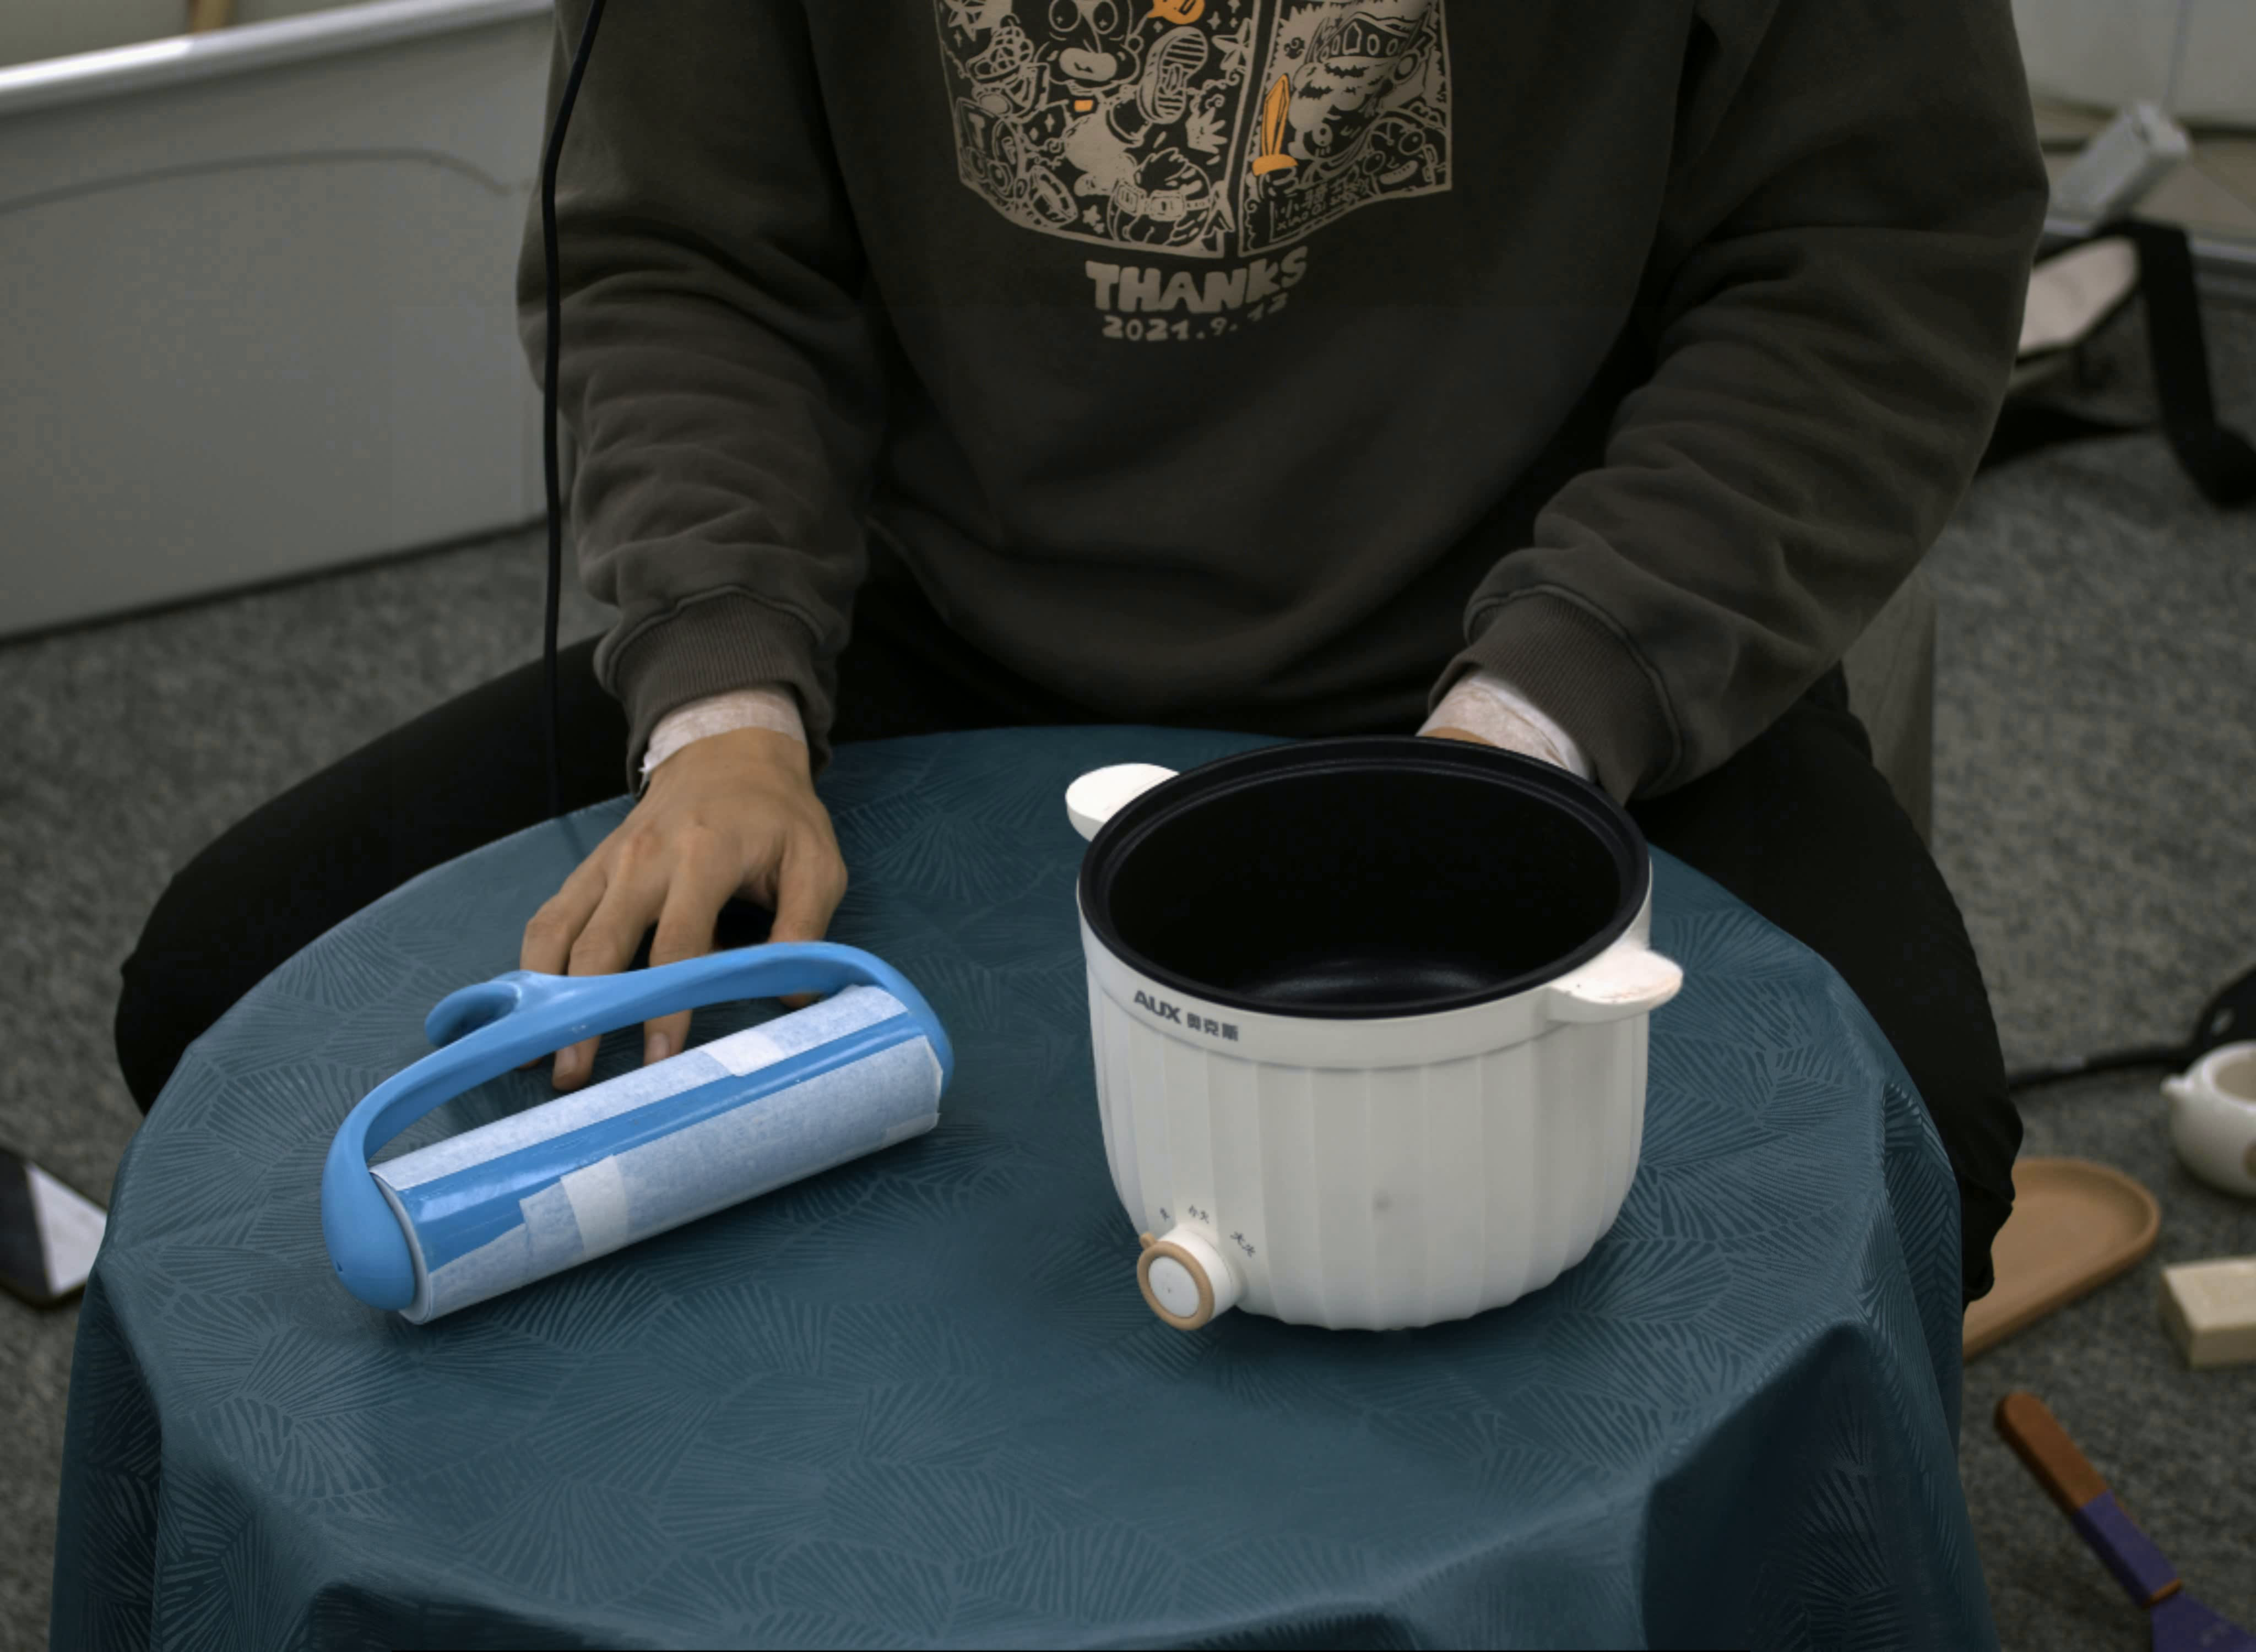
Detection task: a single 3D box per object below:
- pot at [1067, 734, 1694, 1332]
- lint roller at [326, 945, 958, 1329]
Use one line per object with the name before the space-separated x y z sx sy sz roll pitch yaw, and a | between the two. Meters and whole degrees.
pot | 0.076 0.073 1.797 0.239 0.141 0.193 18 31 37
lint roller | -0.191 0.085 1.888 0.231 0.067 0.181 -22 34 -30
